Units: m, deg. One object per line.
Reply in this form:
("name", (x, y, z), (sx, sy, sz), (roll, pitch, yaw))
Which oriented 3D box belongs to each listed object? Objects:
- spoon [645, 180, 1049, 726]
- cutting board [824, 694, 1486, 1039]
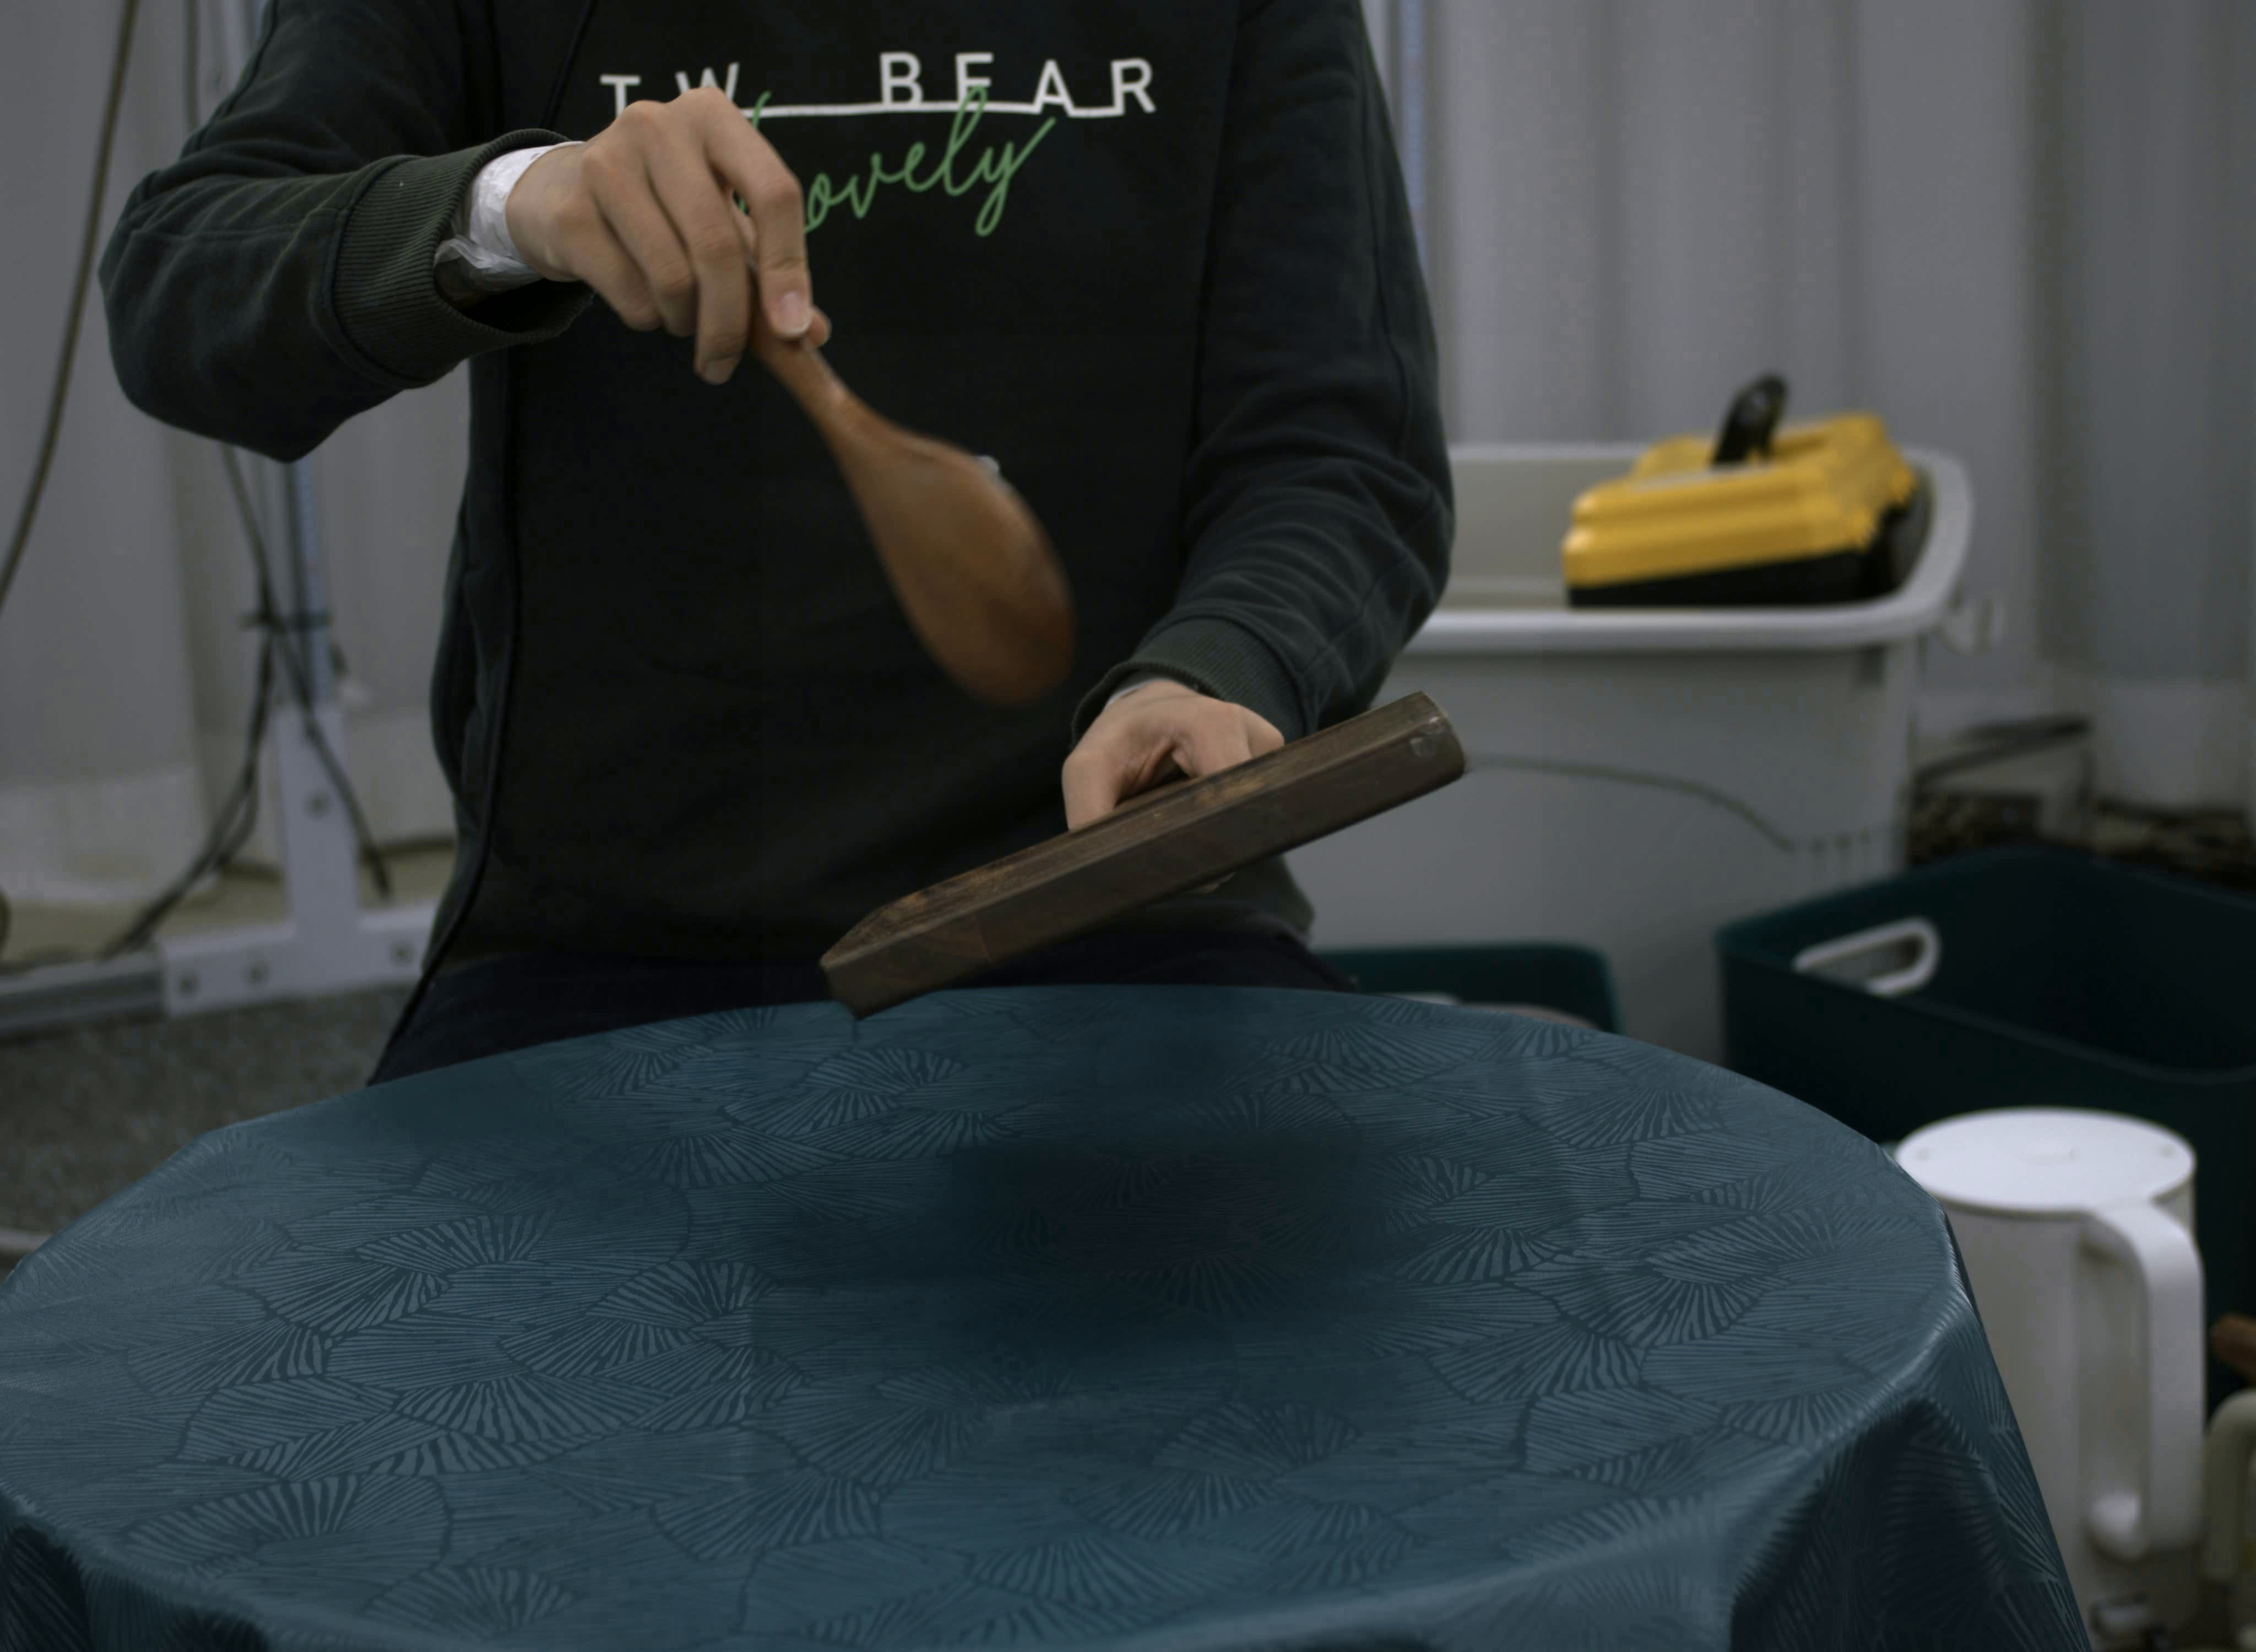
("spoon", (-0.088, -0.116, 1.662), (0.017, 0.074, 0.218), (-23, 62, -26))
("cutting board", (0.010, 0.006, 1.697), (0.200, 0.023, 0.352), (-23, 2, 2))
